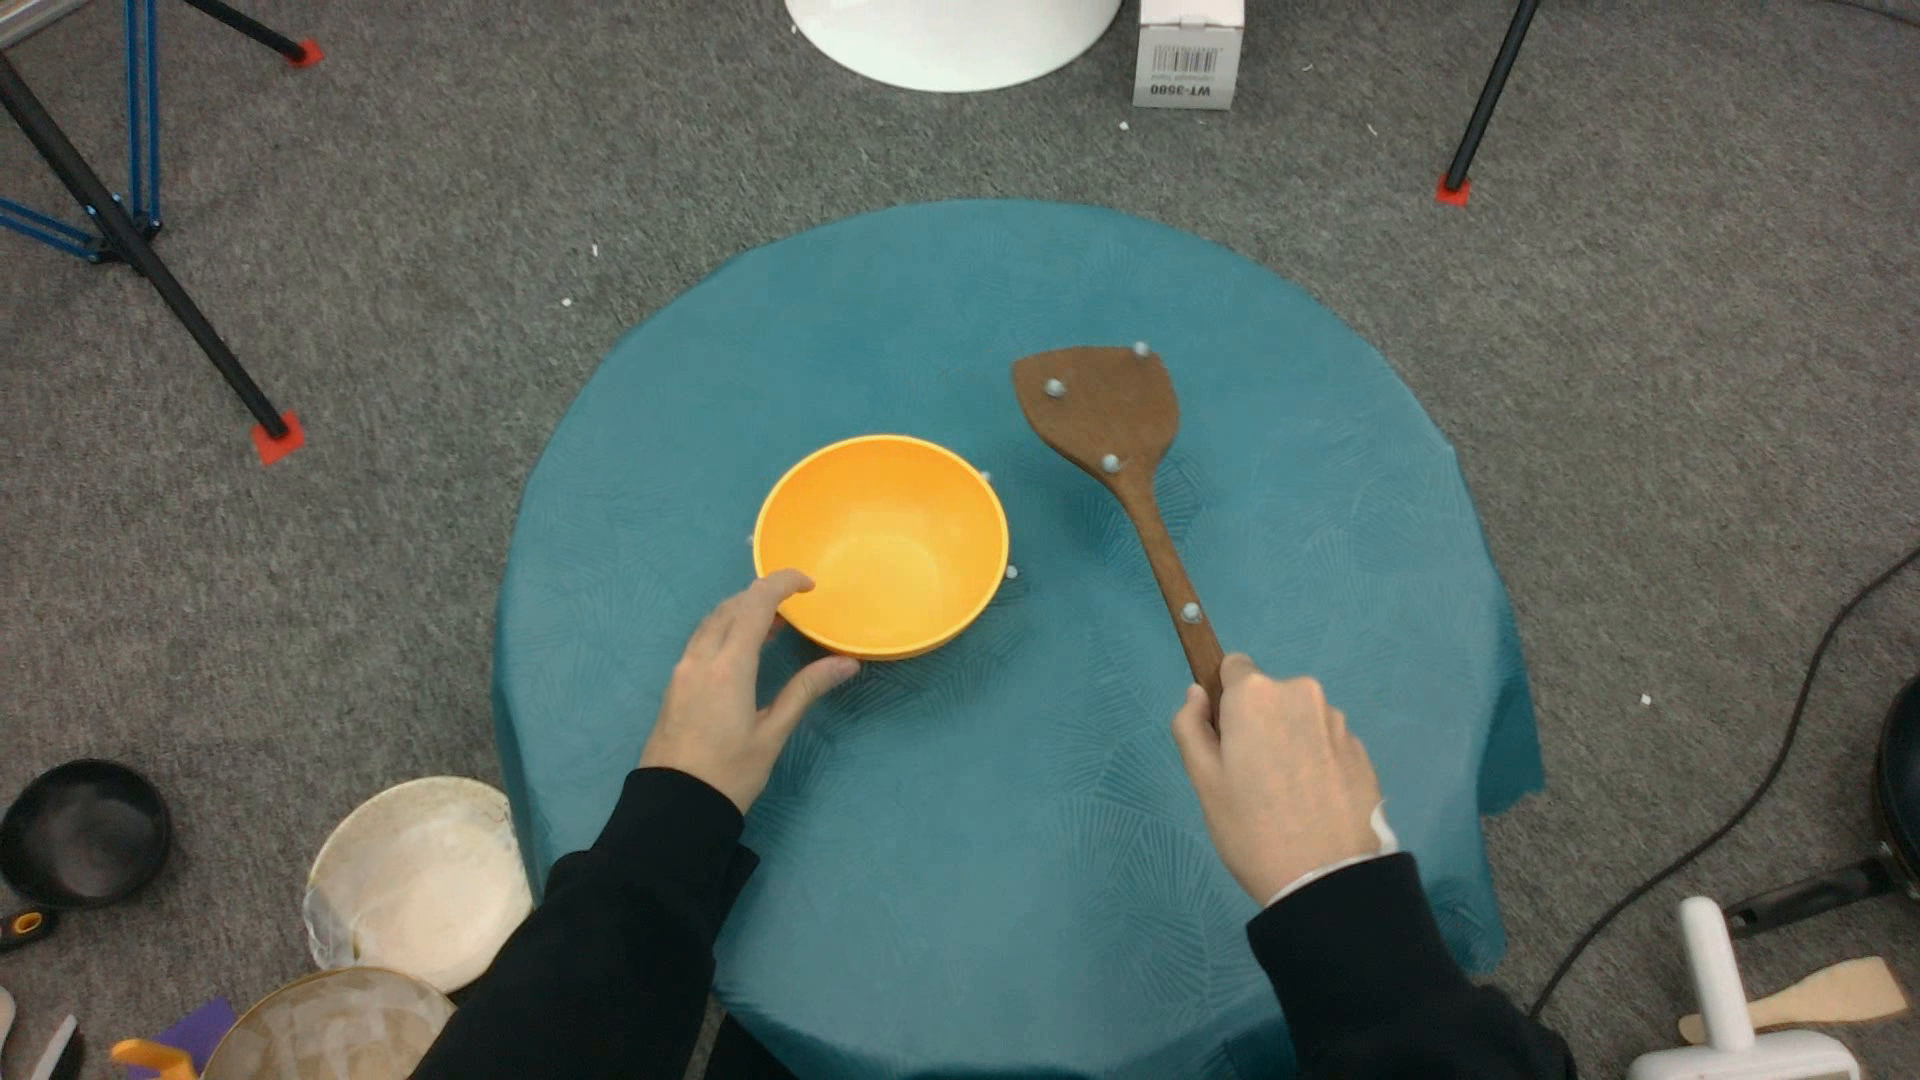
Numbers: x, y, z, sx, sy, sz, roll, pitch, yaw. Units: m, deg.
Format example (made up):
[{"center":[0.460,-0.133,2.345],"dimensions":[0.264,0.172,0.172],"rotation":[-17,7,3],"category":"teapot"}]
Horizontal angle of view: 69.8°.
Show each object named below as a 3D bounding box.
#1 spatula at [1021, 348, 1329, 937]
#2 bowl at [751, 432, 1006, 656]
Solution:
[{"center":[0.113,0.025,0.709],"dimensions":[0.096,0.016,0.387],"rotation":[-5,47,-10],"category":"spatula"},{"center":[-0.045,0.012,0.802],"dimensions":[0.145,0.060,0.146],"rotation":[-1,59,2],"category":"bowl"}]
